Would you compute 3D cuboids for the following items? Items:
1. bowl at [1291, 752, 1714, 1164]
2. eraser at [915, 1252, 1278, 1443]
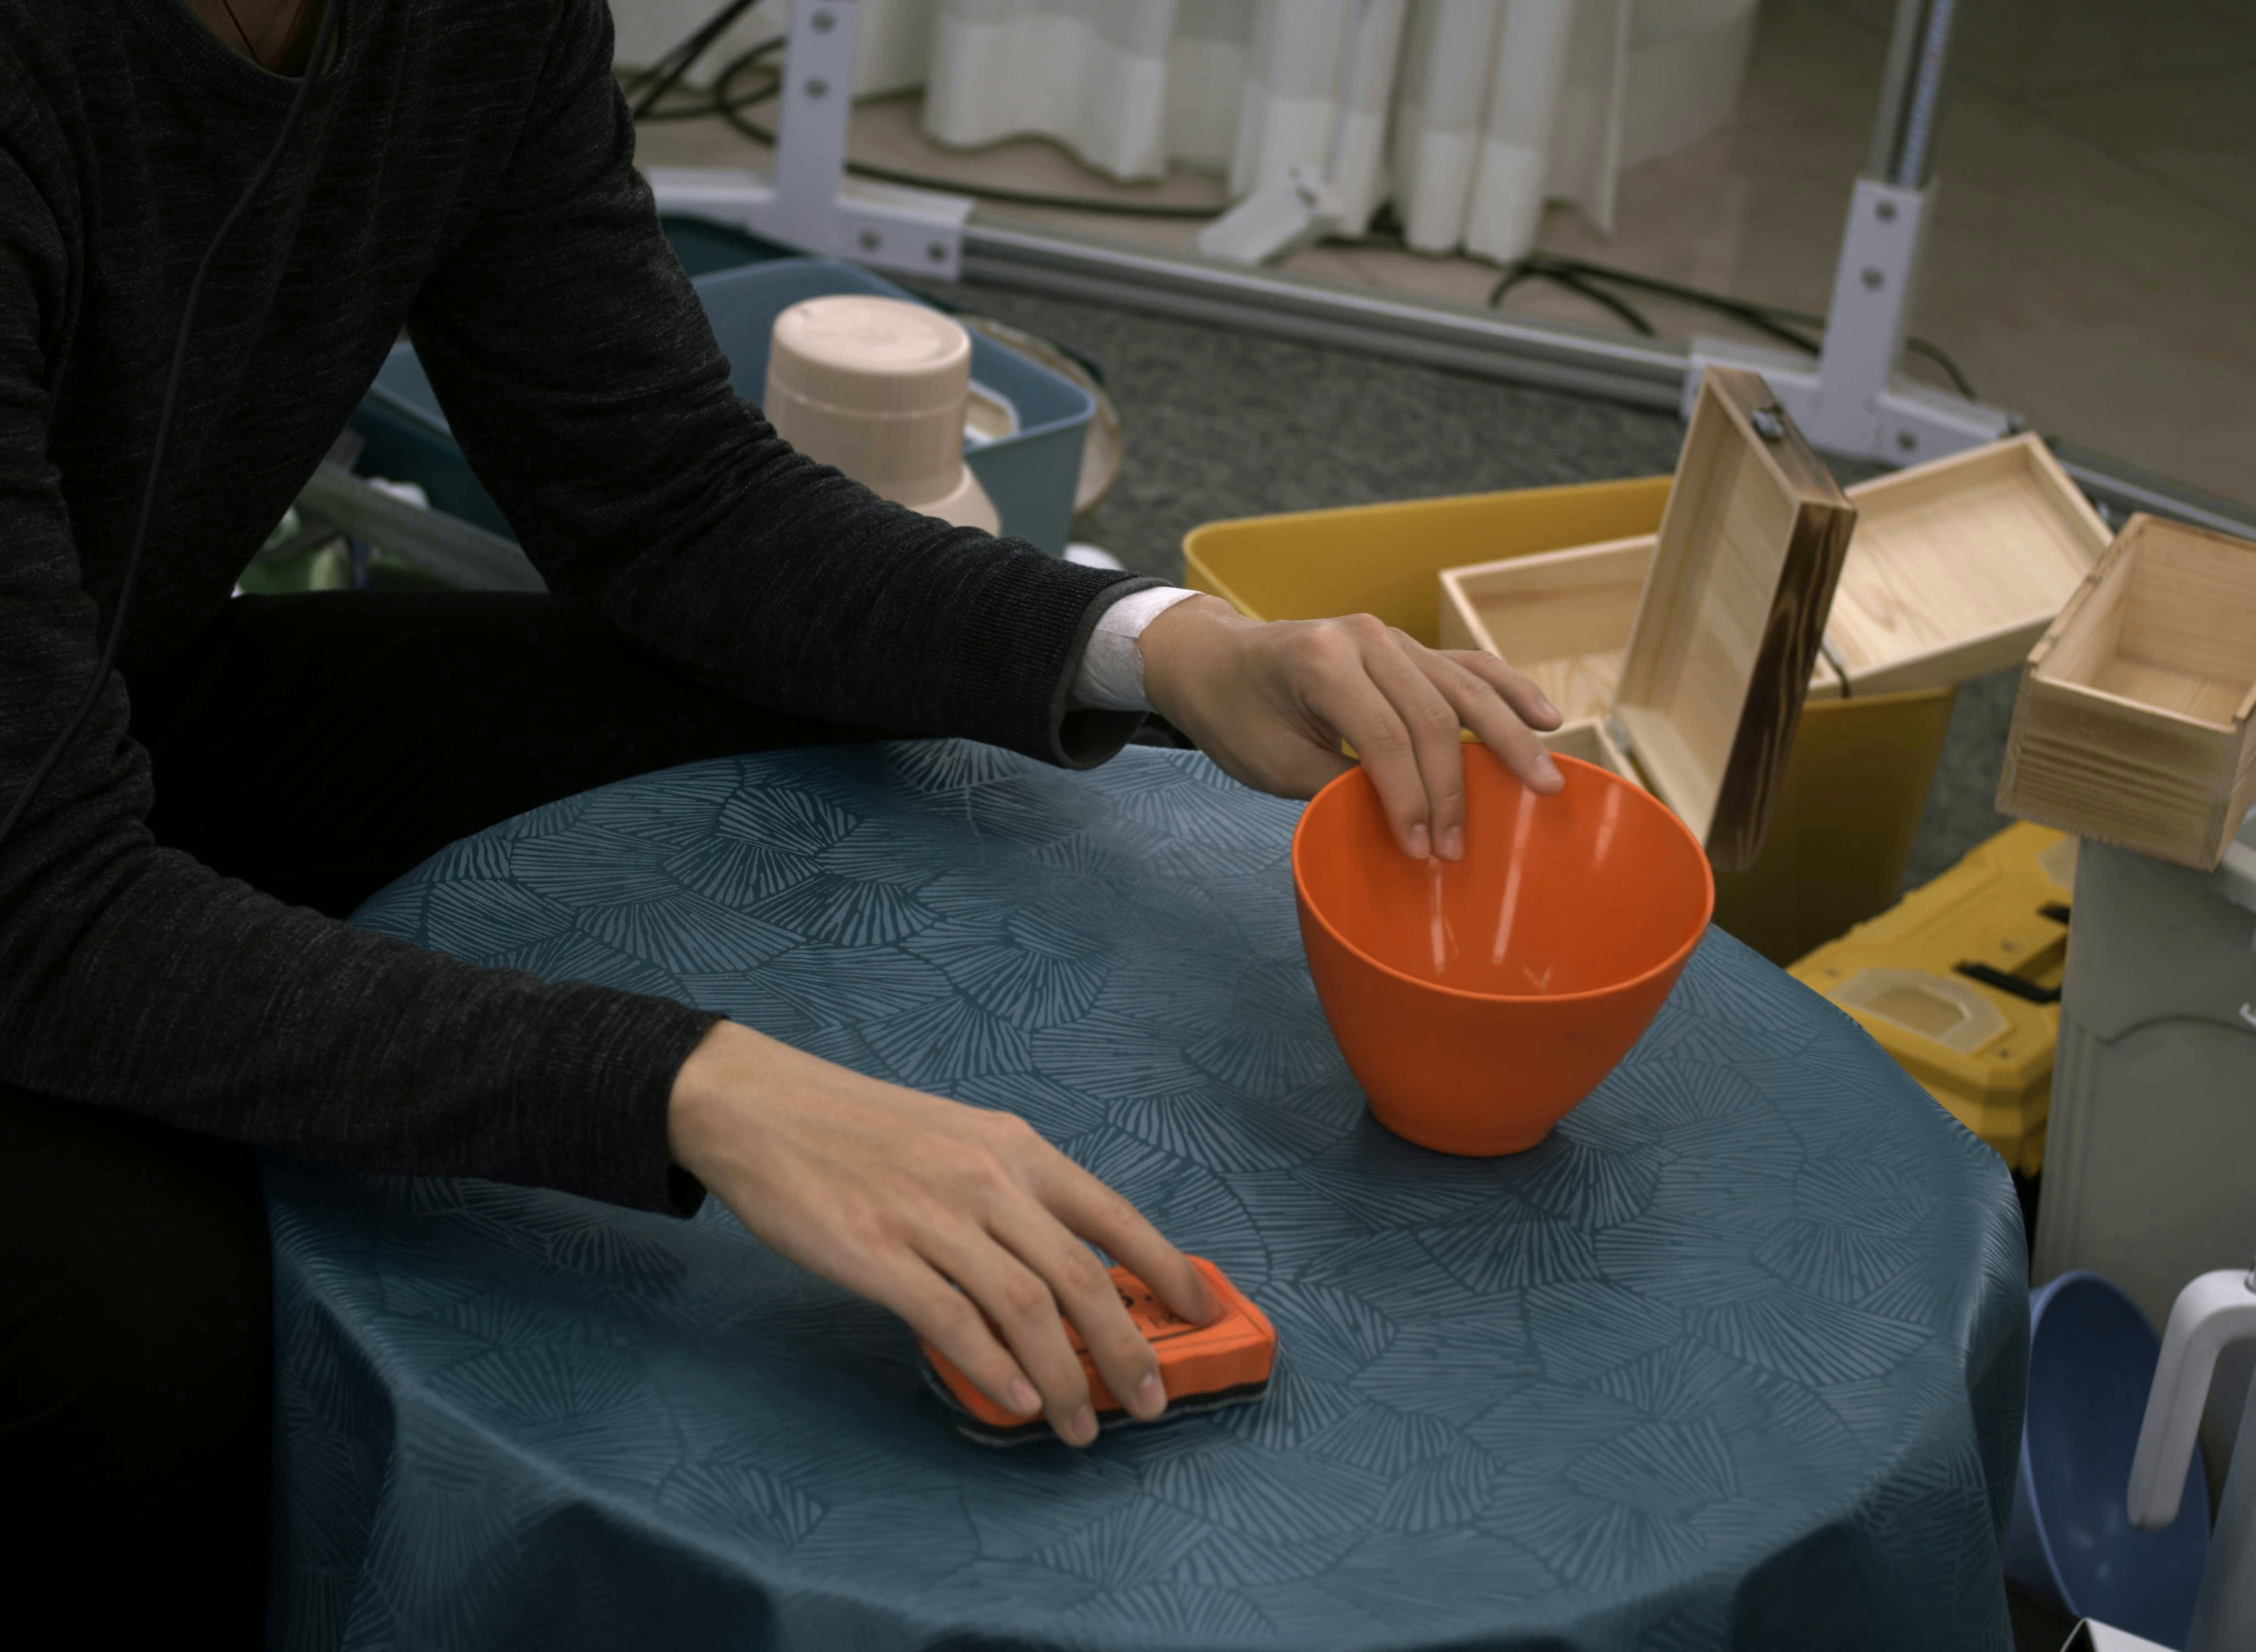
[{"bbox_3d":[0.125,0.053,1.860,0.147,0.104,0.149,5,26,-3],"label":"bowl"},{"bbox_3d":[-0.010,0.165,1.683,0.107,0.023,0.059,-6,31,-30],"label":"eraser"}]
